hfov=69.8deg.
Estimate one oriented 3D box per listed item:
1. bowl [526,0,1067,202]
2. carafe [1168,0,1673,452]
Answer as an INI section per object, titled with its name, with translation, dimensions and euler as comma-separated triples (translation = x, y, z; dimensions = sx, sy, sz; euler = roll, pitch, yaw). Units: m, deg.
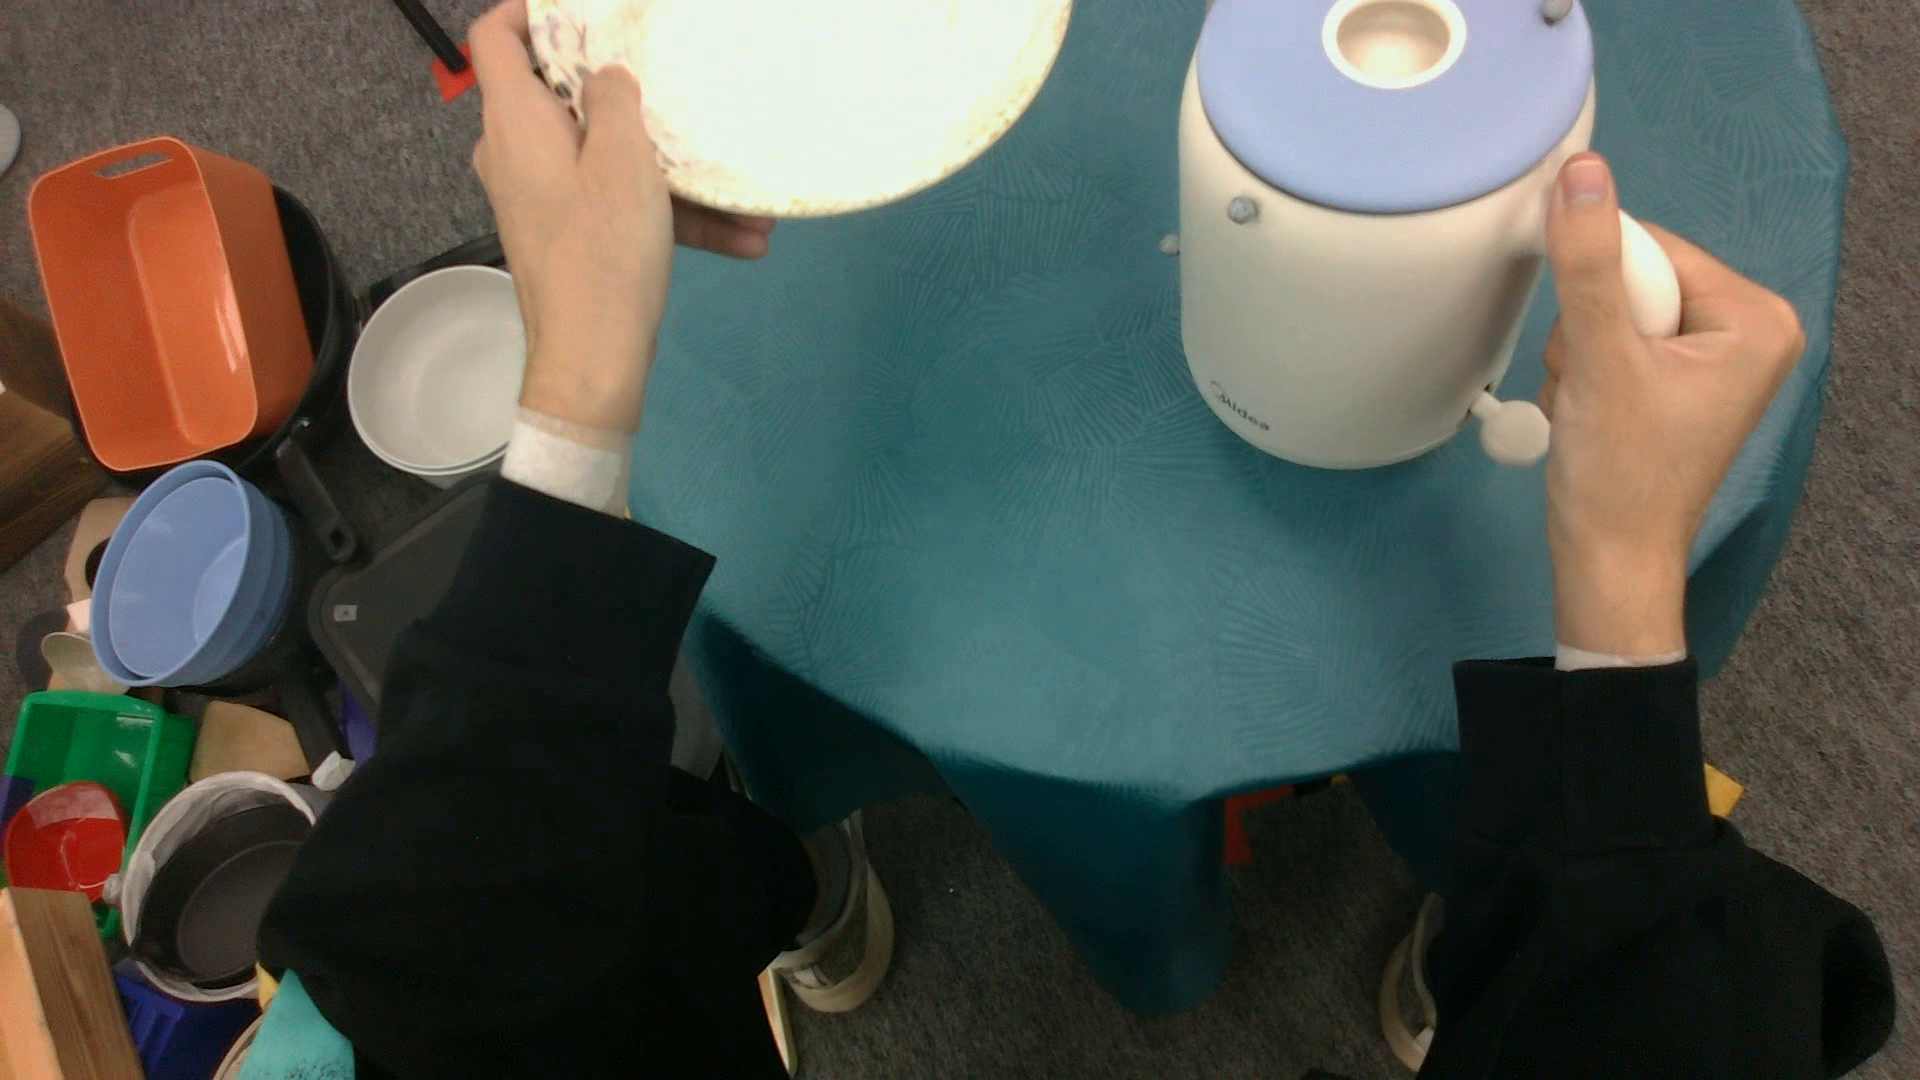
[bowl]
translation = -0.058, -0.212, 0.539
dimensions = 0.204, 0.078, 0.204
euler = 0, 79, 1
[carafe]
translation = 0.160, -0.109, 0.497
dimensions = 0.191, 0.182, 0.132
euler = 40, 79, 20
